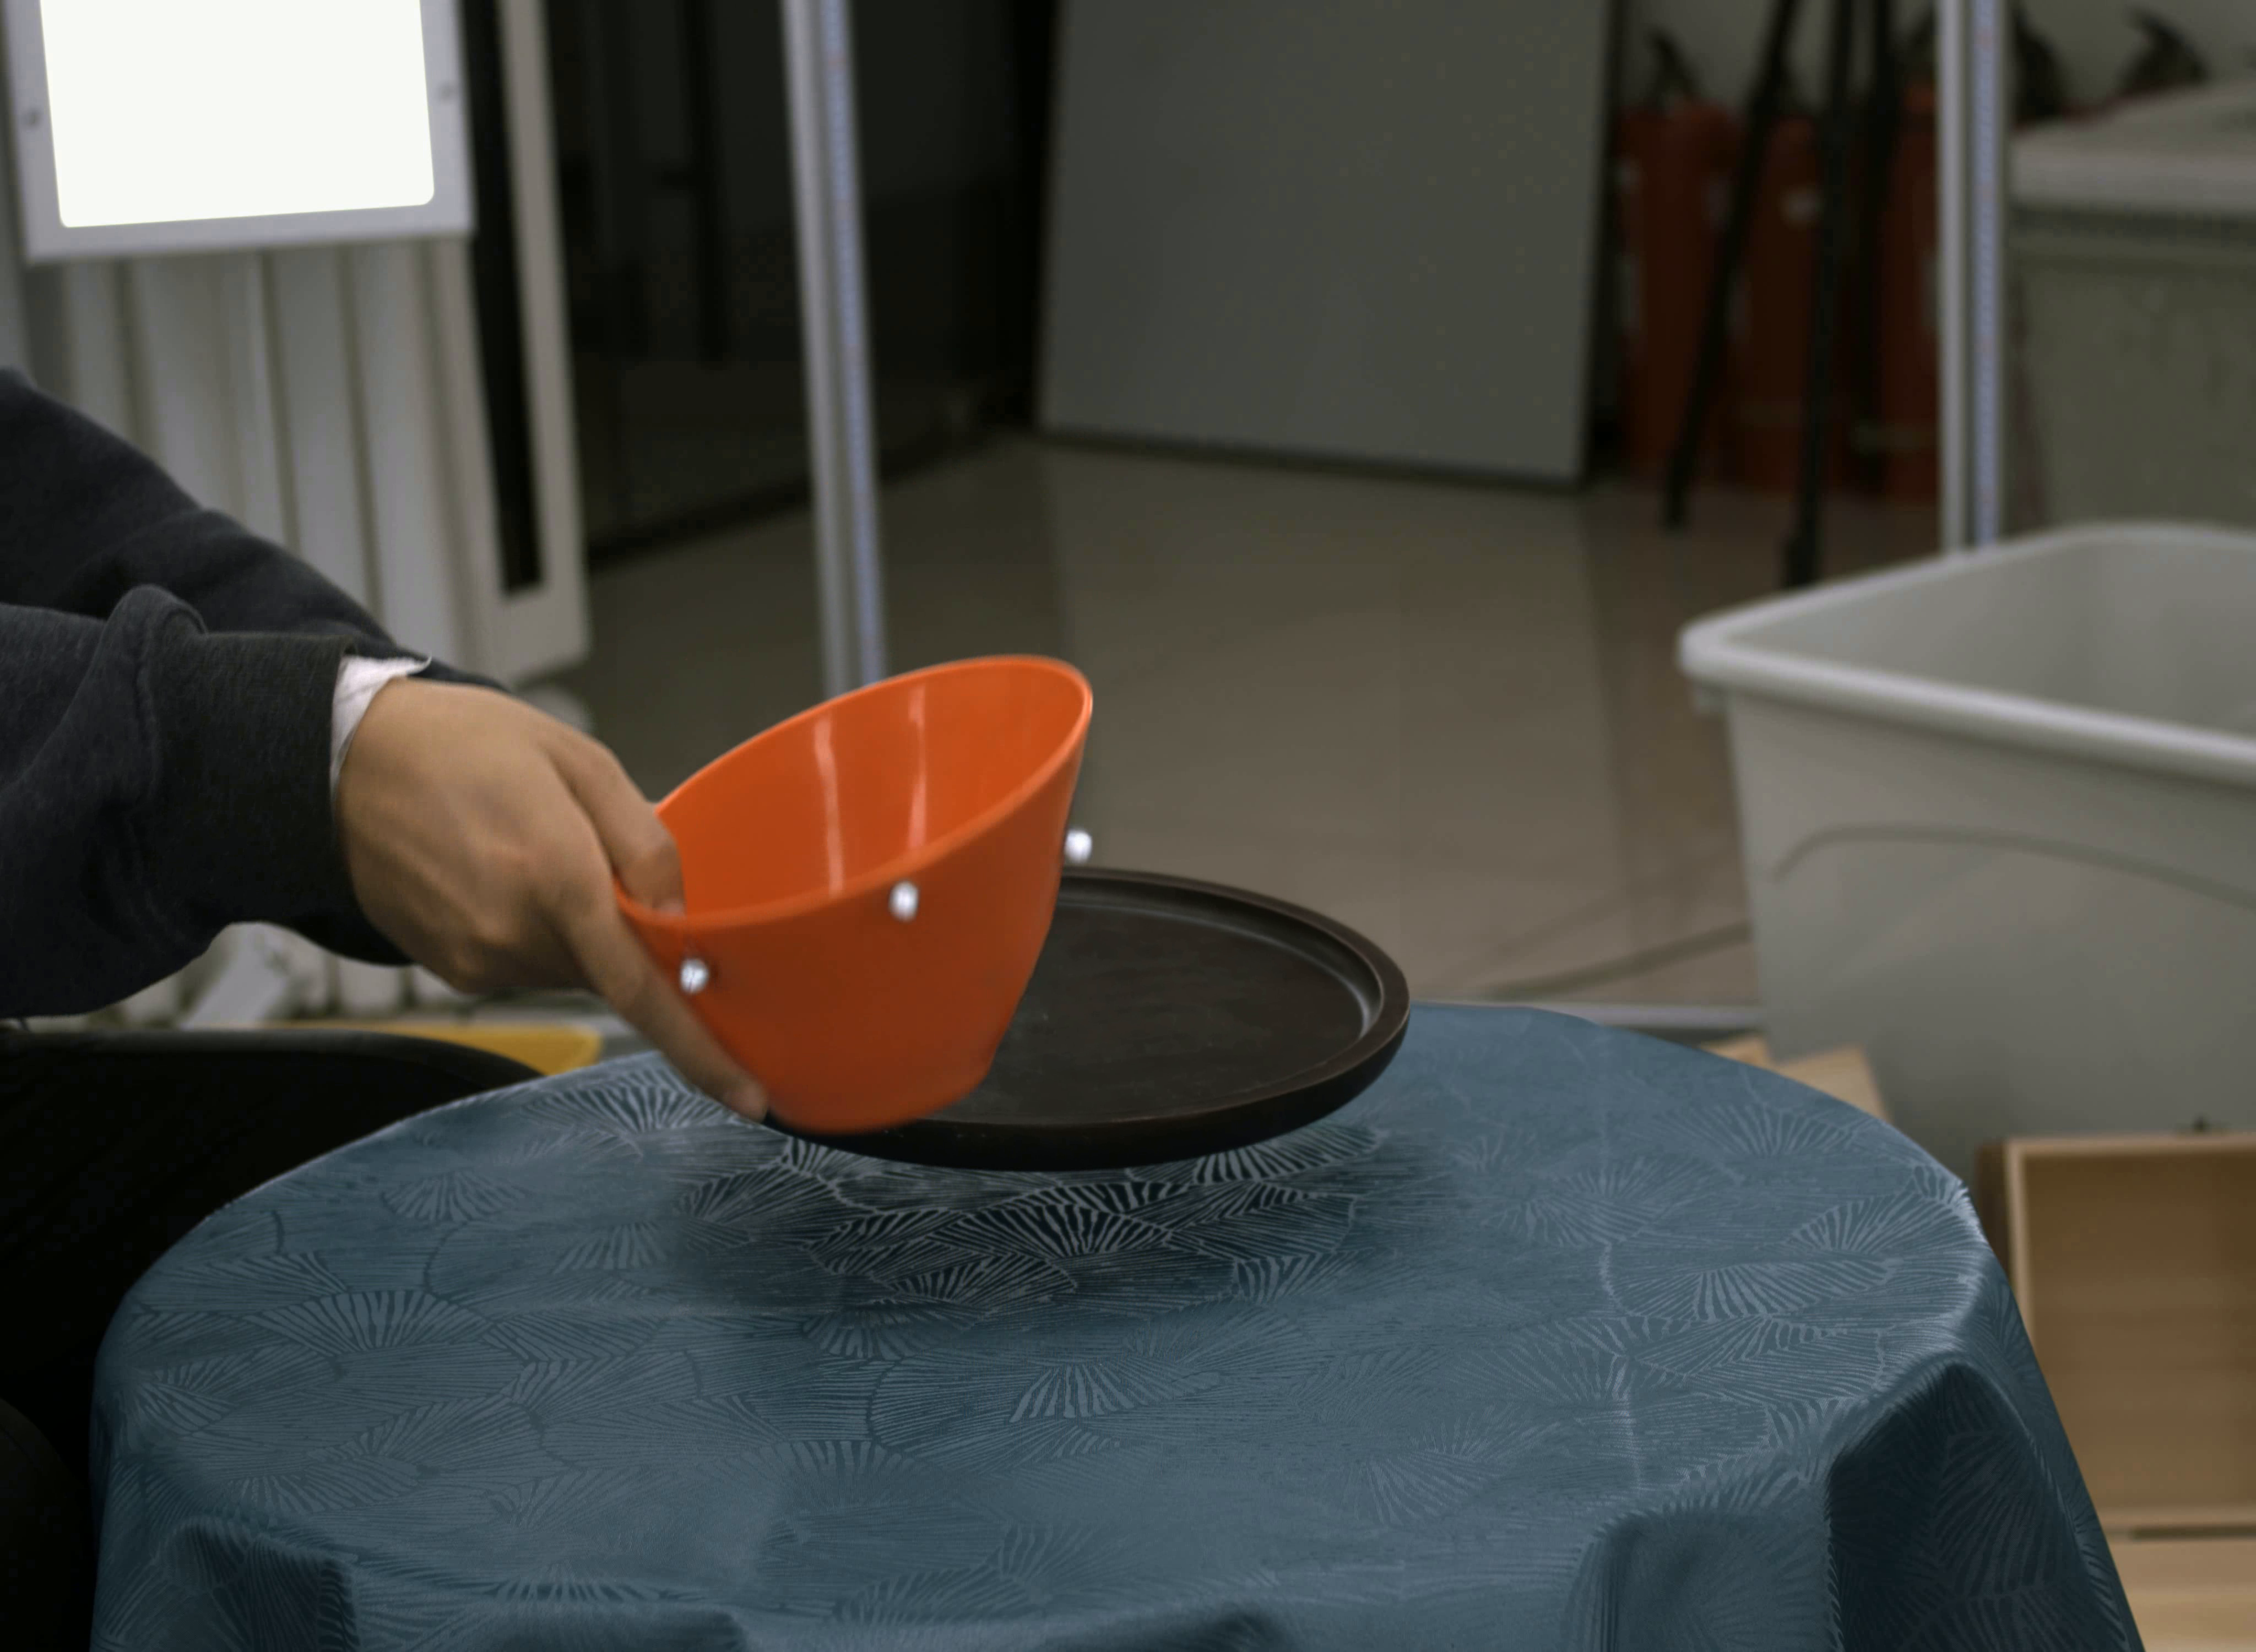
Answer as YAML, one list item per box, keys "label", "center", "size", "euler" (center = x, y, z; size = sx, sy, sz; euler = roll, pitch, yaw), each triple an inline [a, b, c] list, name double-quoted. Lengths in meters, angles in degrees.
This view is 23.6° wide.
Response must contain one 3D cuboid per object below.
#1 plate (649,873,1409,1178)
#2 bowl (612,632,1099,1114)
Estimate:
- label: "plate"
  center: [-0.032, 0.062, 1.775]
  size: [0.251, 0.029, 0.255]
  euler: [0, 19, -1]
- label: "bowl"
  center: [-0.069, 0.018, 1.541]
  size: [0.146, 0.105, 0.148]
  euler: [-11, 20, 3]
